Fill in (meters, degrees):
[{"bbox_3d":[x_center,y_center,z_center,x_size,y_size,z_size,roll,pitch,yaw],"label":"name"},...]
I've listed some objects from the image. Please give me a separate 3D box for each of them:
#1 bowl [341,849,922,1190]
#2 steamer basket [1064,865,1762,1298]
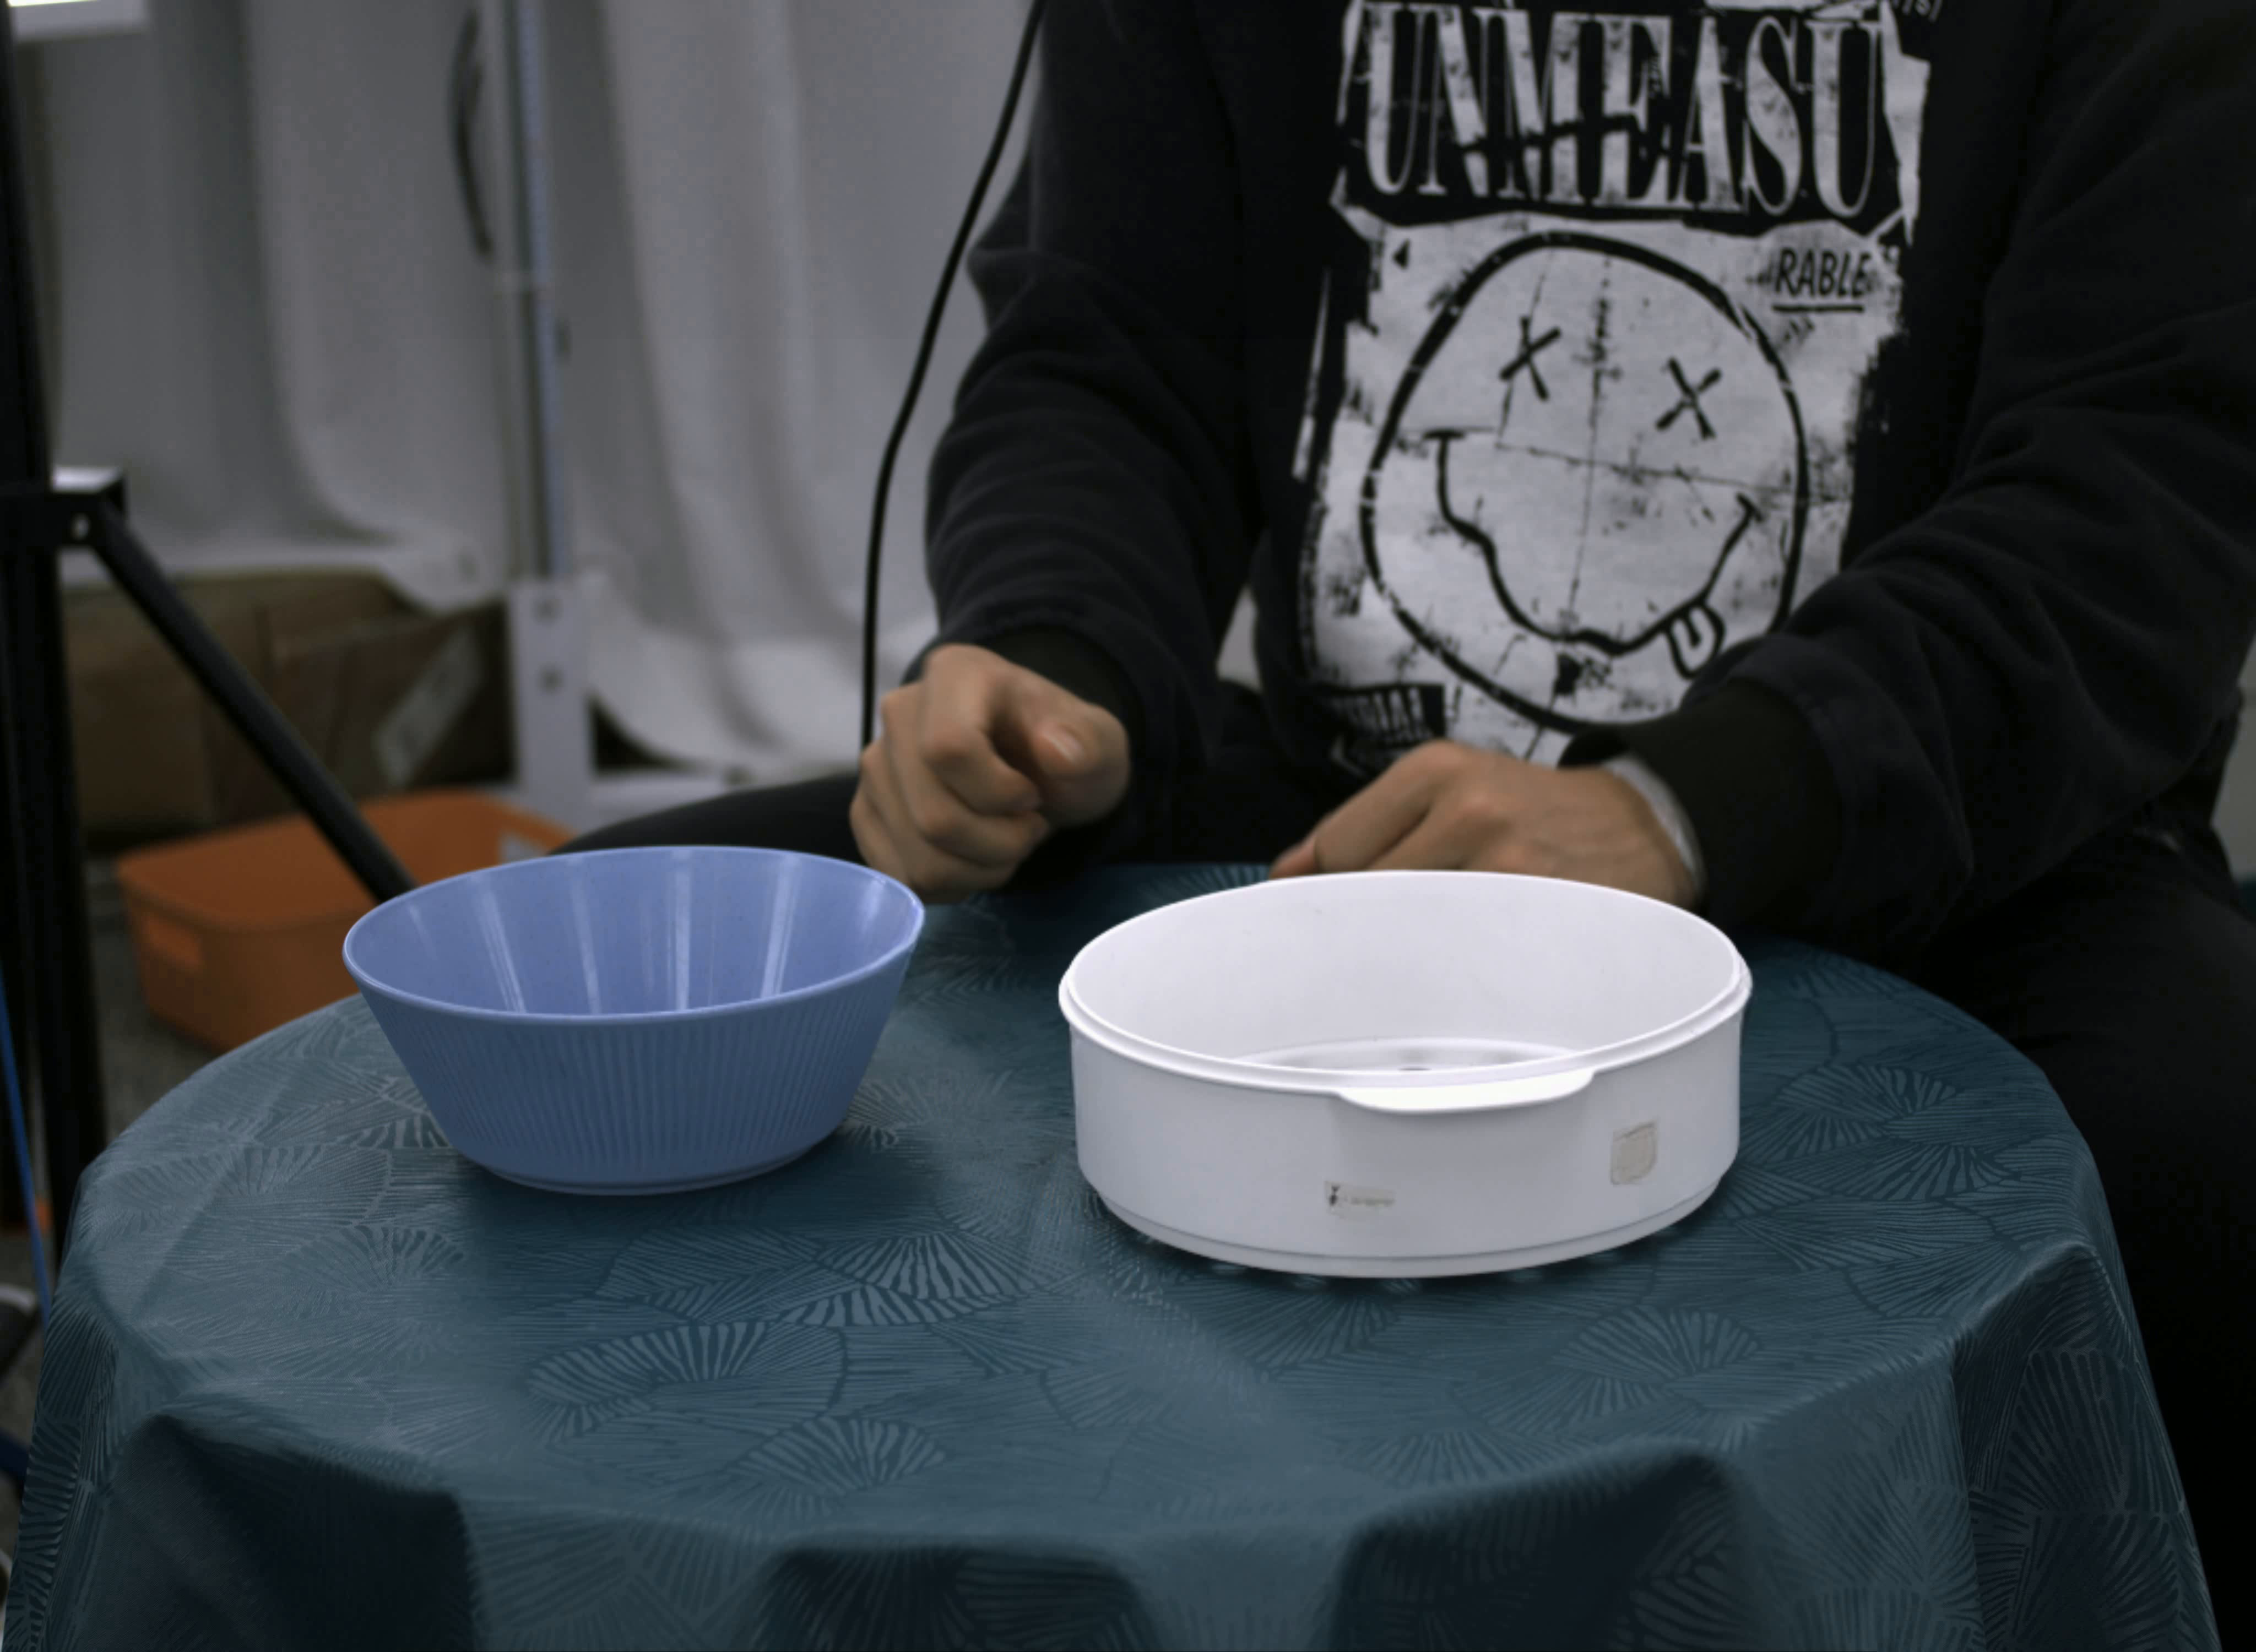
[{"bbox_3d":[-0.149,0.061,1.620,0.175,0.070,0.177,-2,16,-1],"label":"bowl"},{"bbox_3d":[0.083,0.074,1.540,0.200,0.069,0.233,-4,18,-6],"label":"steamer basket"}]
